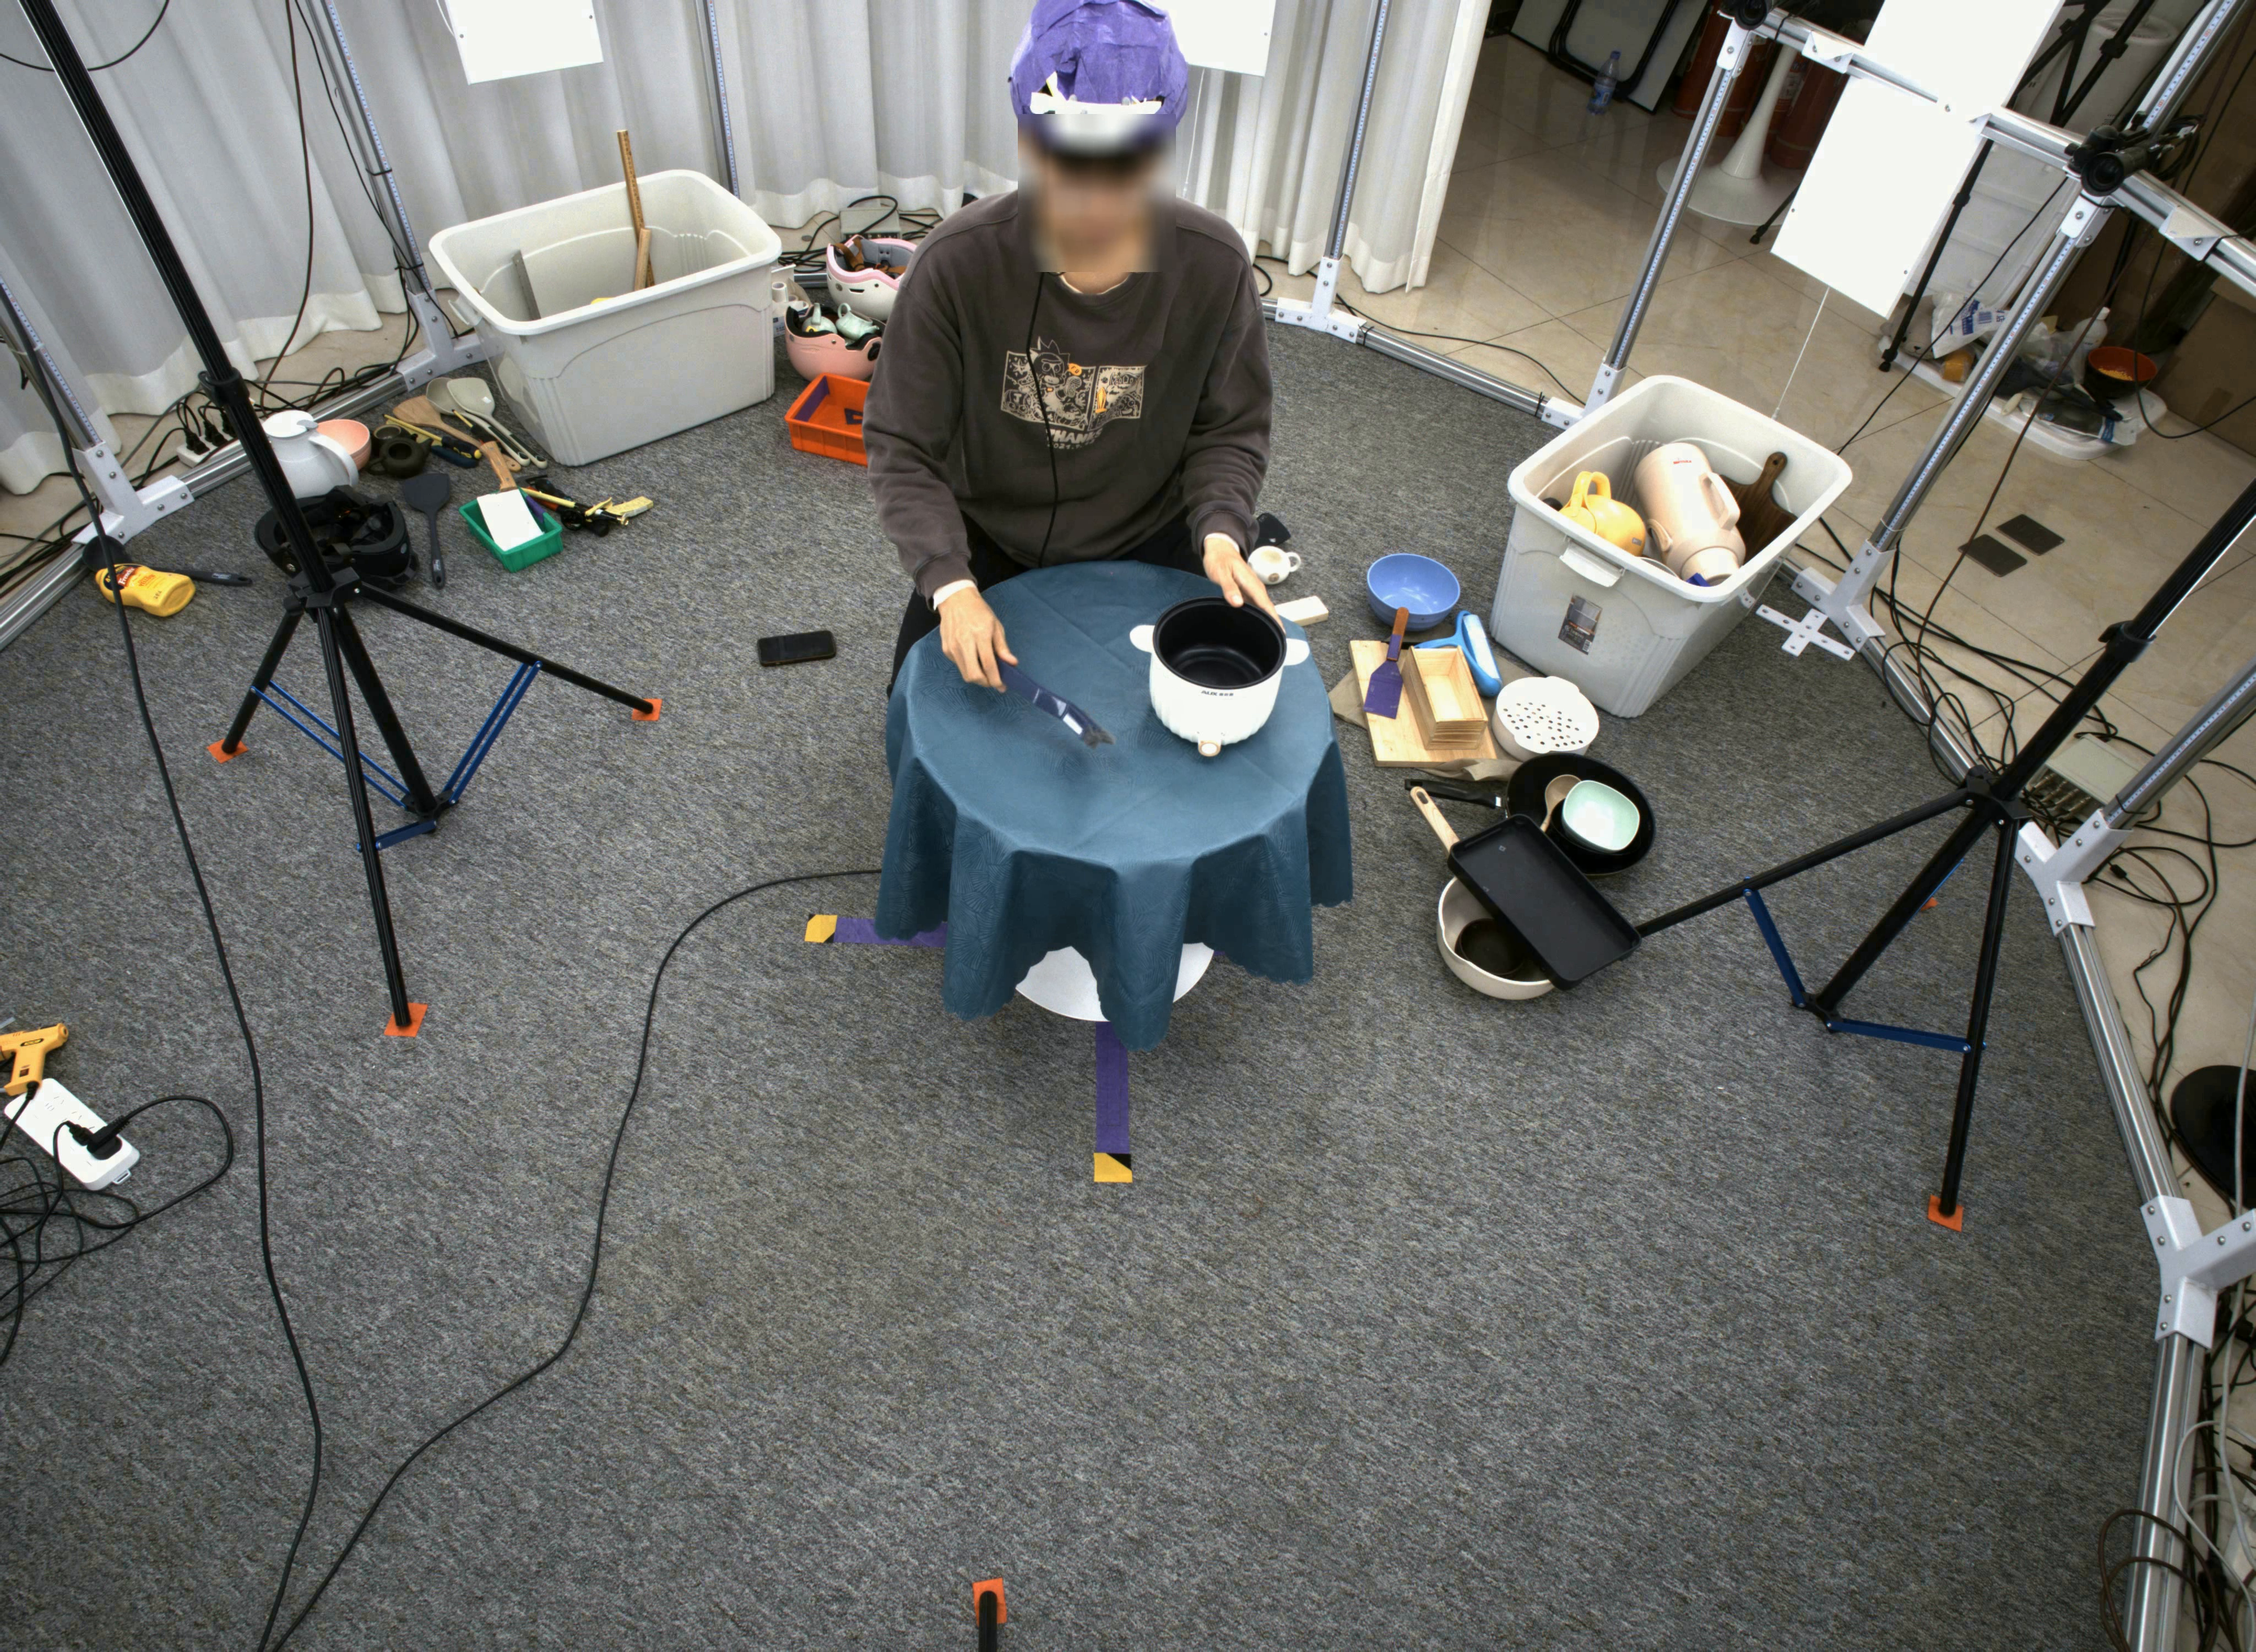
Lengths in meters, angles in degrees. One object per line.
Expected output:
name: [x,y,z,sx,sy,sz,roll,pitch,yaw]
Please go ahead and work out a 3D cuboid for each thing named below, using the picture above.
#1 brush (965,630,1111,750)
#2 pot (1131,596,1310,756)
brush: [-0.131,-0.184,1.716,0.276,0.033,0.095,35,20,22]
pot: [0.121,-0.202,1.759,0.240,0.139,0.195,4,46,1]
